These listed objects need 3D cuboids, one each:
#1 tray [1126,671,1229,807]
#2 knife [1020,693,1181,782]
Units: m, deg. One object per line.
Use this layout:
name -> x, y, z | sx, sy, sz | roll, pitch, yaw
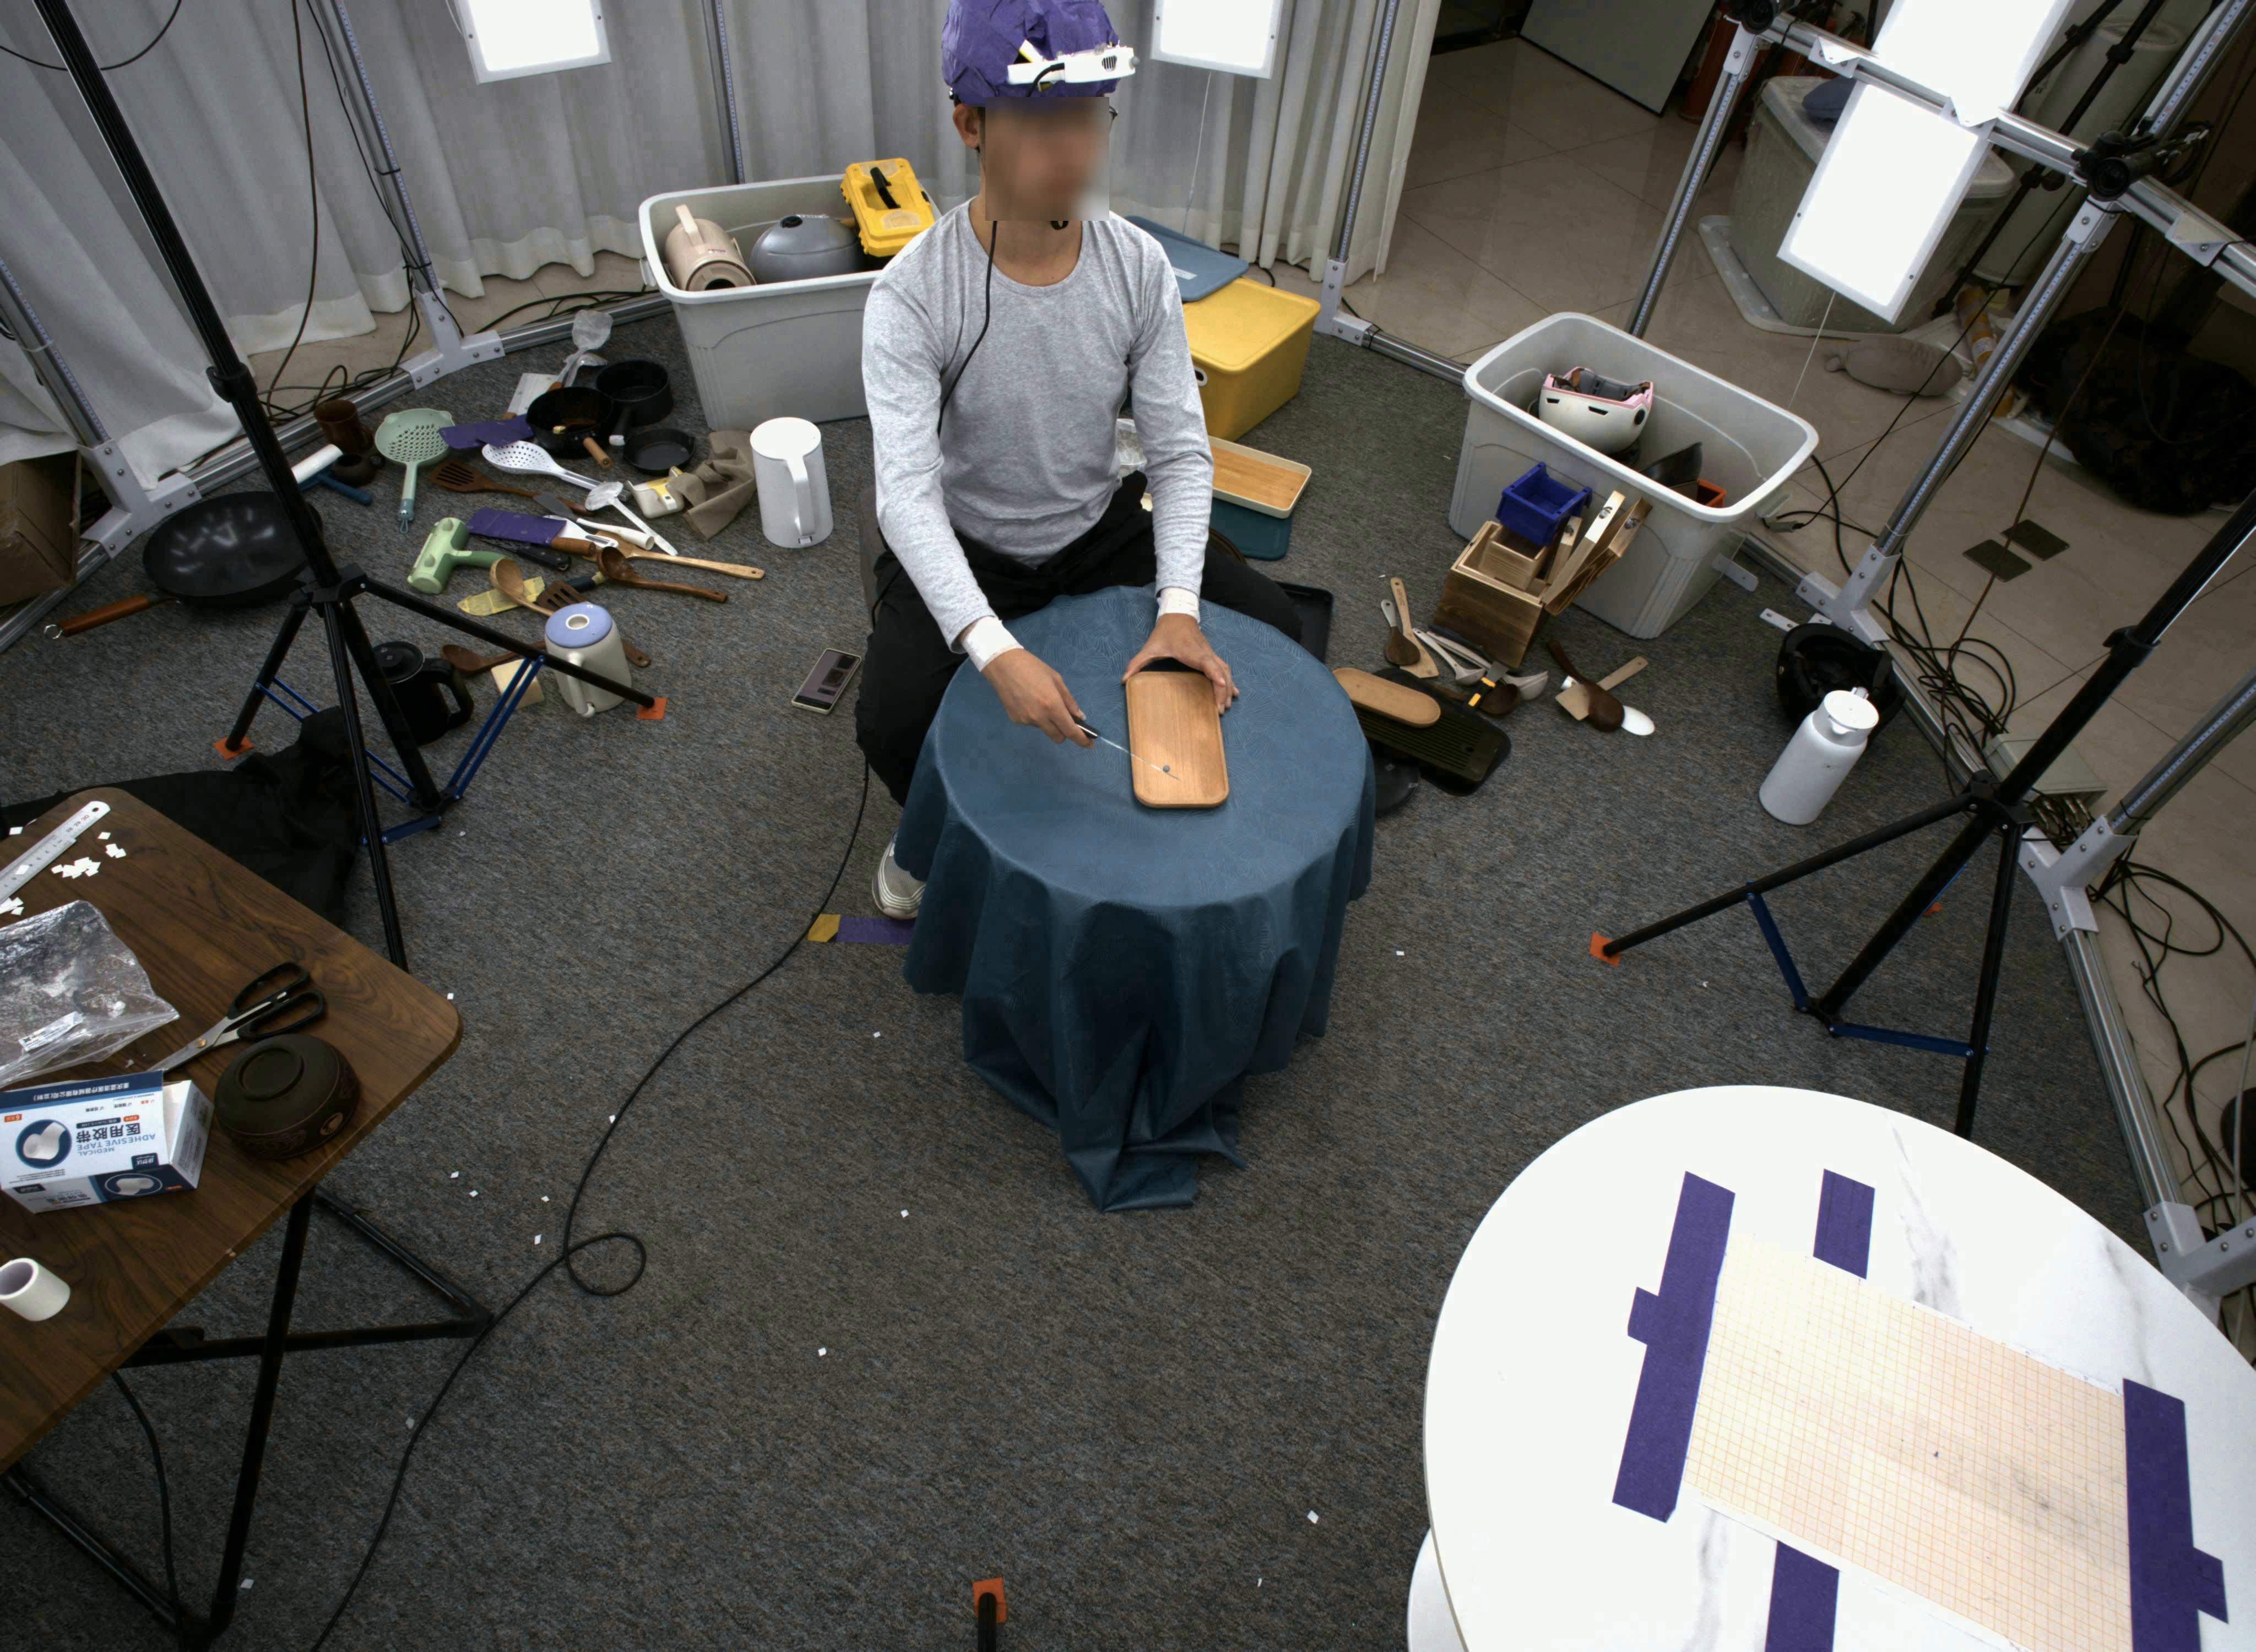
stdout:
tray -> 0.066, -0.122, 1.767 | 0.130, 0.022, 0.257 | 2, 48, -5
knife -> -0.036, -0.113, 1.648 | 0.239, 0.024, 0.016 | 28, 95, 10
